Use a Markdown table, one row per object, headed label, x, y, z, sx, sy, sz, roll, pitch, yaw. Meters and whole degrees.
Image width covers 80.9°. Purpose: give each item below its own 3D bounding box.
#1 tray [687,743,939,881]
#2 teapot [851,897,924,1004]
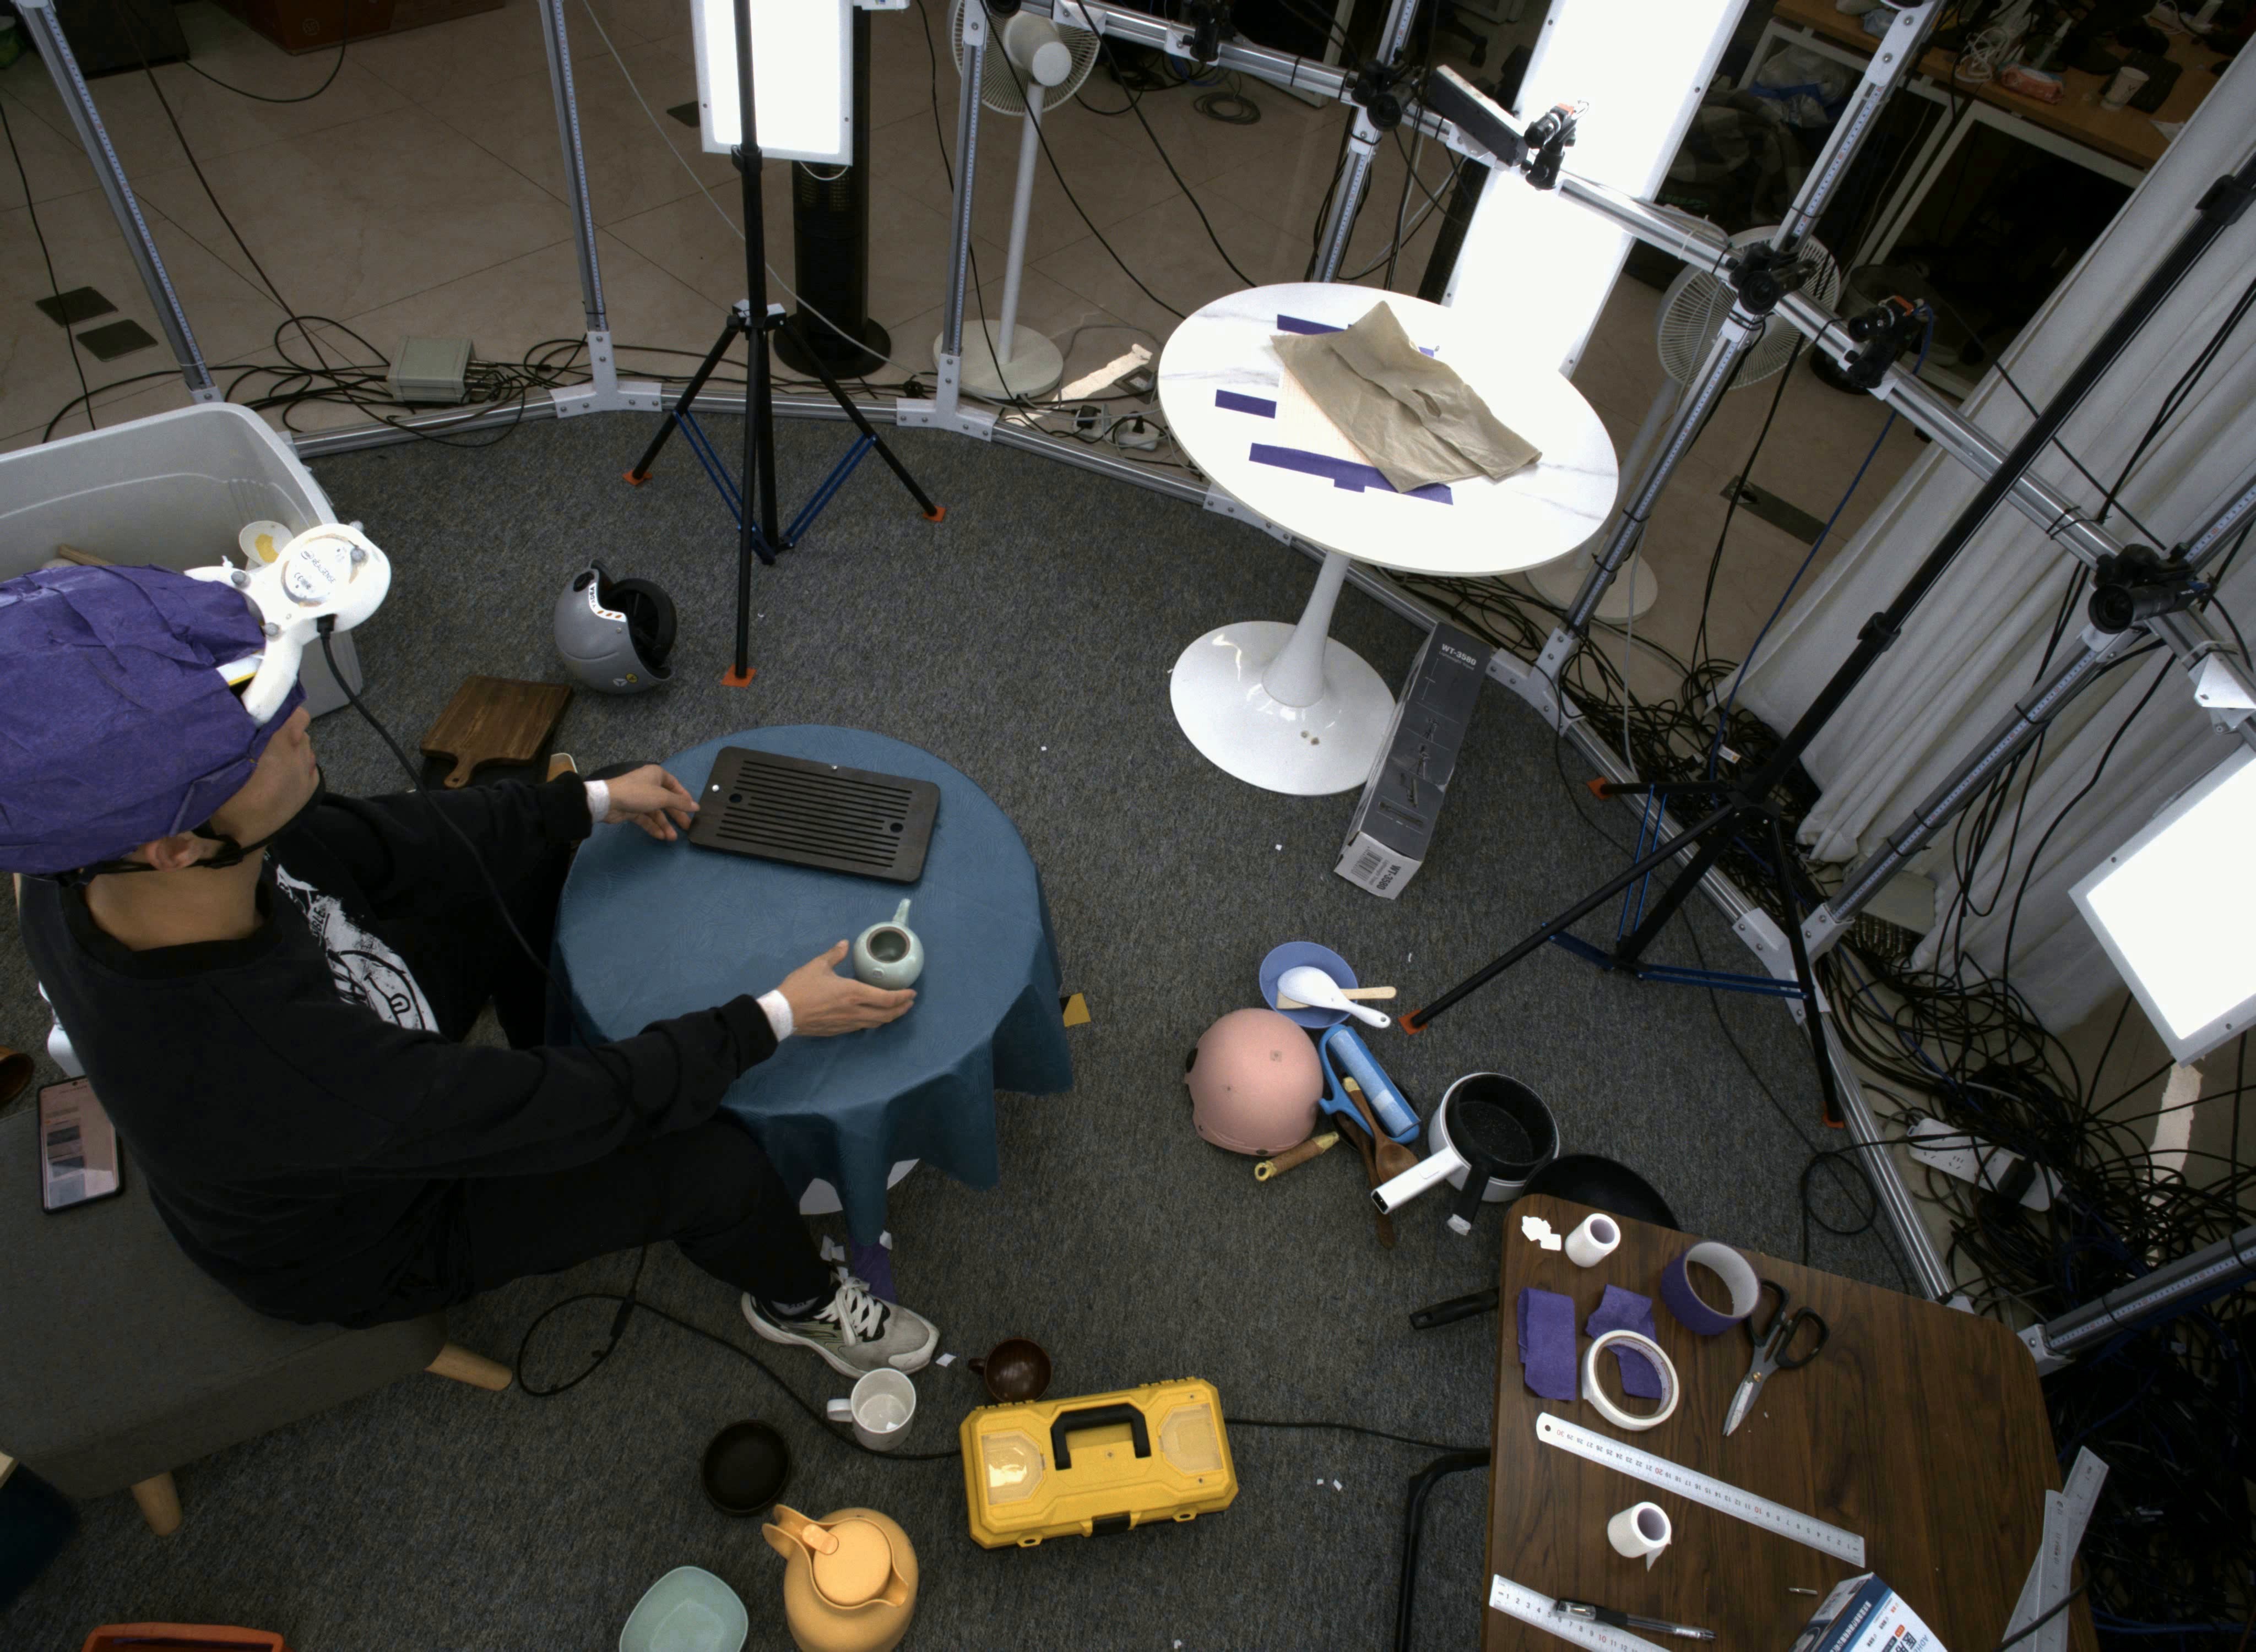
| label | x | y | z | sx | sy | sz | roll | pitch | yaw |
| --- | --- | --- | --- | --- | --- | --- | --- | --- | --- |
| tray | -0.414 | -0.019 | 1.726 | 0.305 | 0.019 | 0.167 | 11 | 52 | -7 |
| teapot | -0.294 | 0.158 | 1.590 | 0.087 | 0.076 | 0.142 | 17 | 50 | 1 |
